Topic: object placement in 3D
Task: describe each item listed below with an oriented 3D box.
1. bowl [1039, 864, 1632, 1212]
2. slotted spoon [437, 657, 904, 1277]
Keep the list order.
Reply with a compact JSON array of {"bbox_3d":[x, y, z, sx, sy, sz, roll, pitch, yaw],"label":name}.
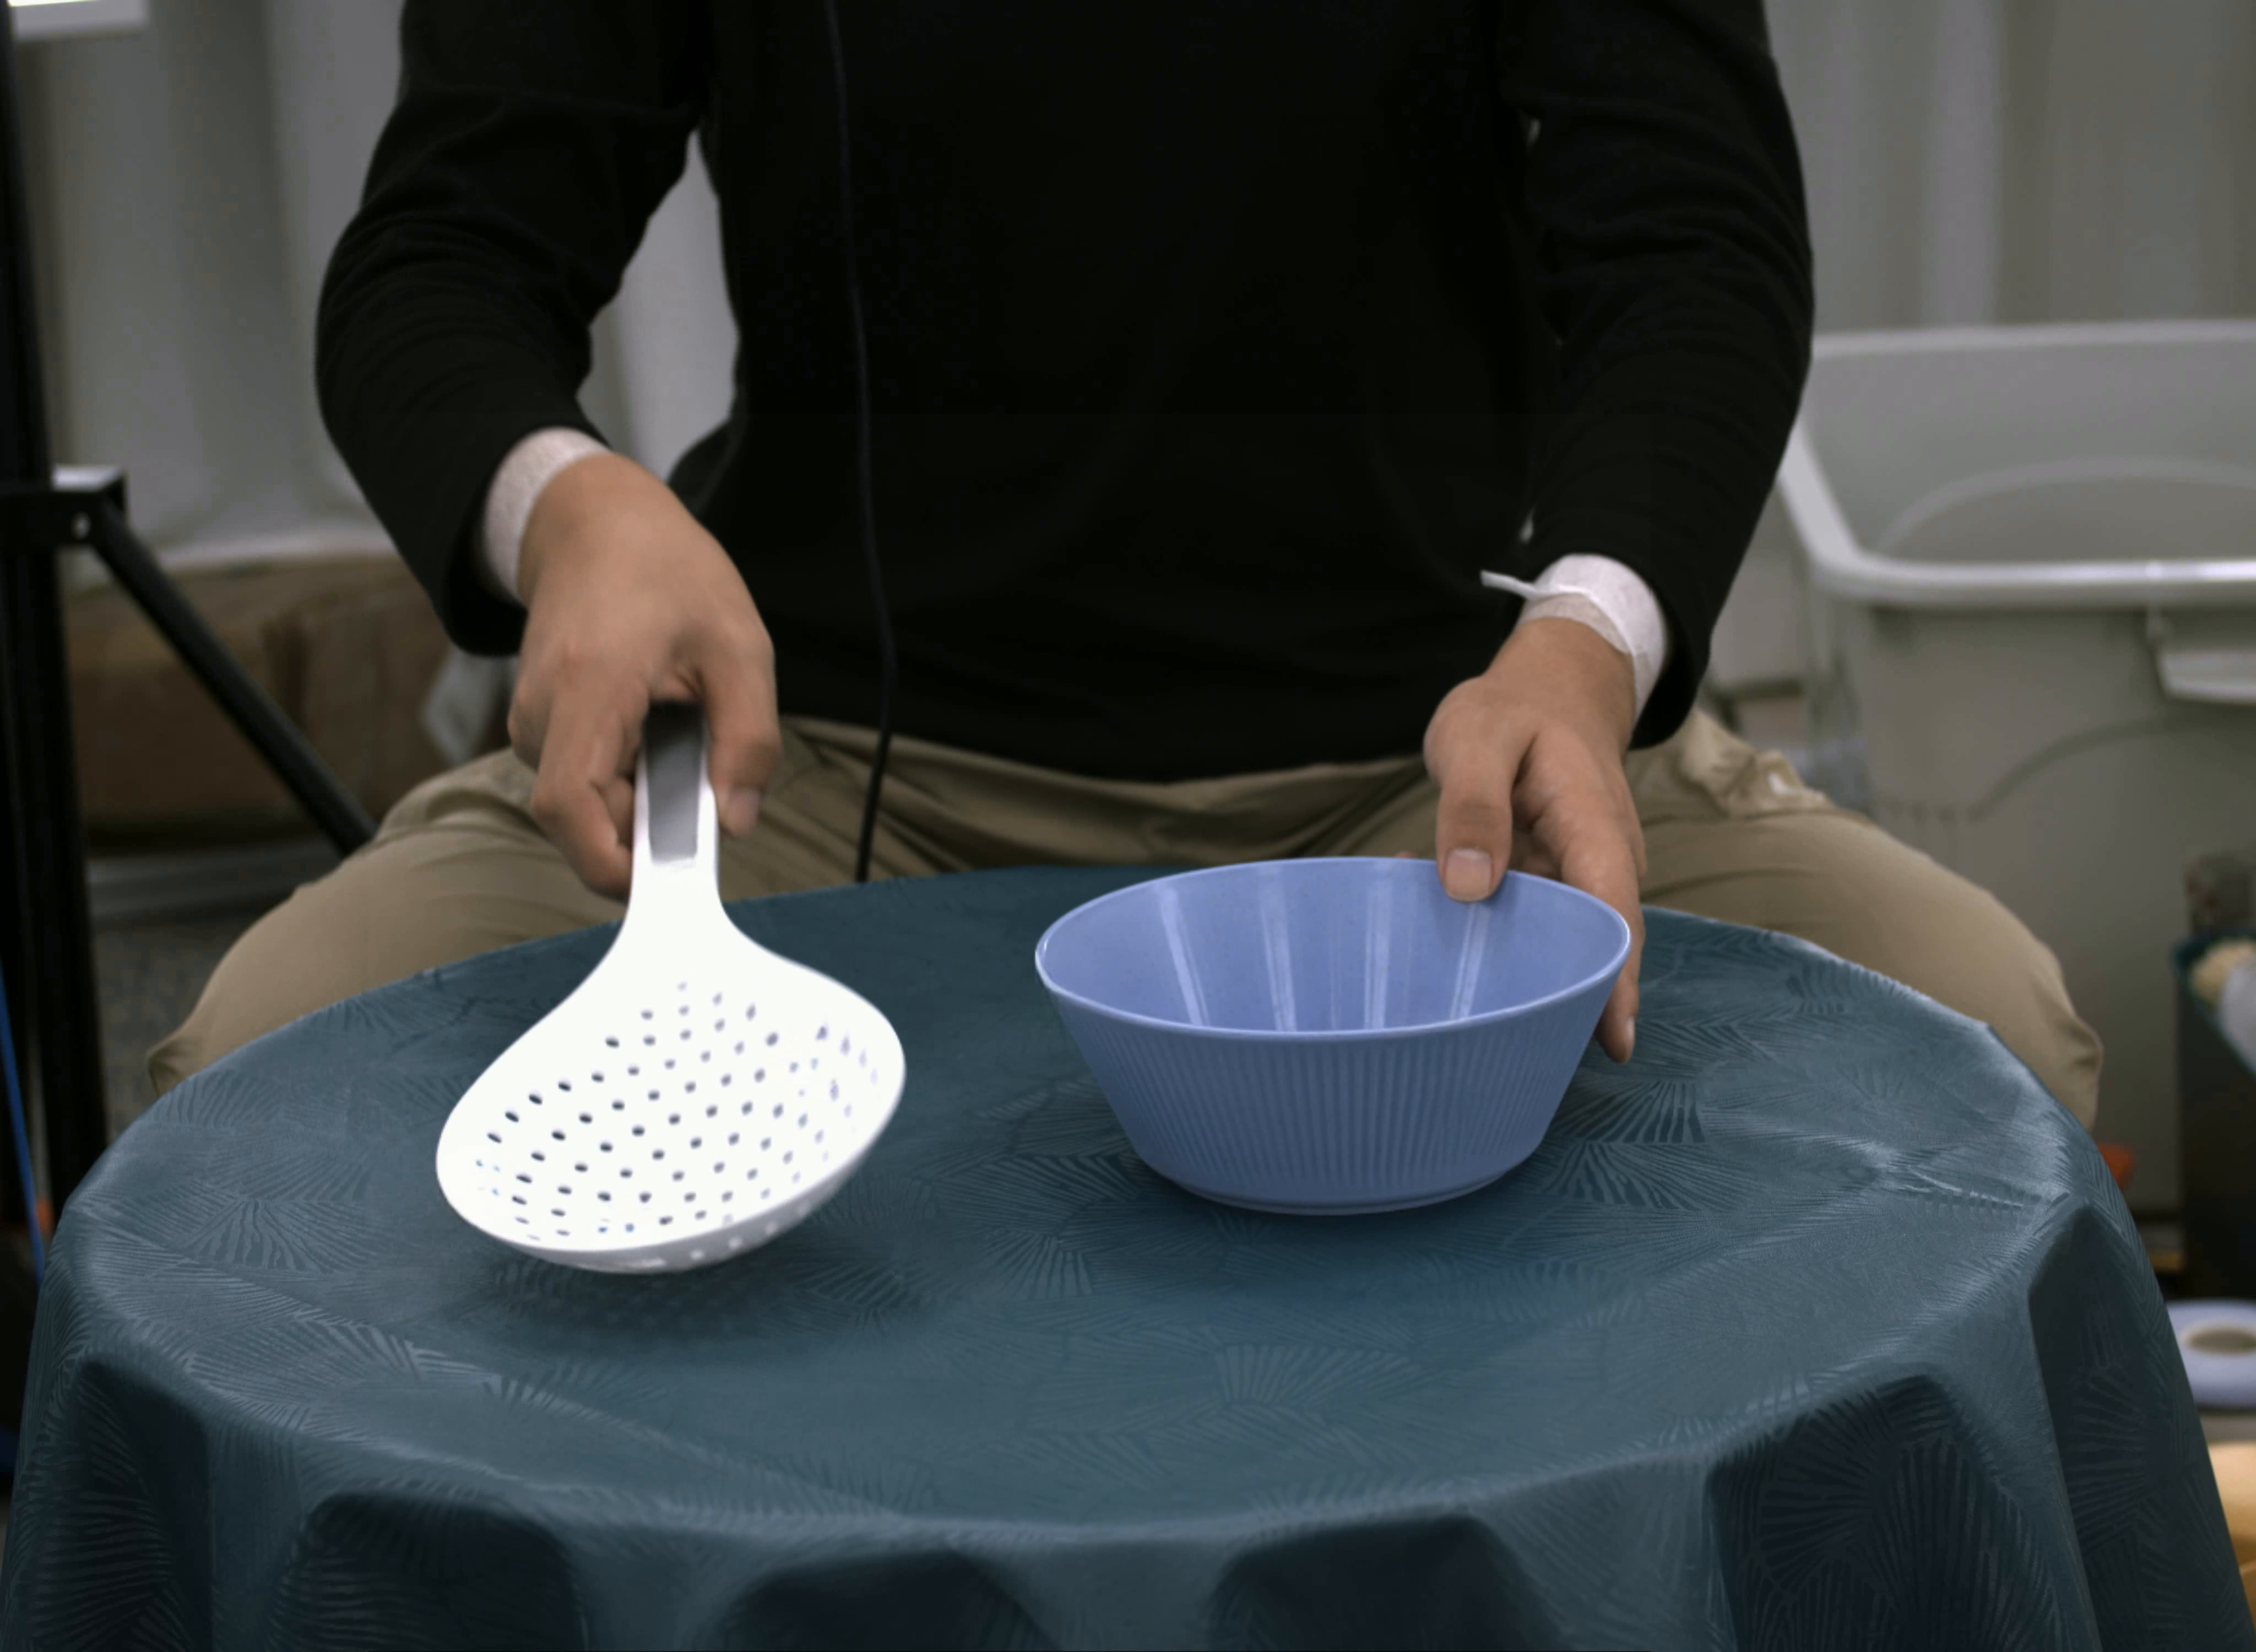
[{"bbox_3d":[0.062,0.065,1.572,0.175,0.070,0.177,-3,14,-1],"label":"bowl"},{"bbox_3d":[-0.136,0.035,1.608,0.135,0.045,0.354,-12,33,2],"label":"slotted spoon"}]
